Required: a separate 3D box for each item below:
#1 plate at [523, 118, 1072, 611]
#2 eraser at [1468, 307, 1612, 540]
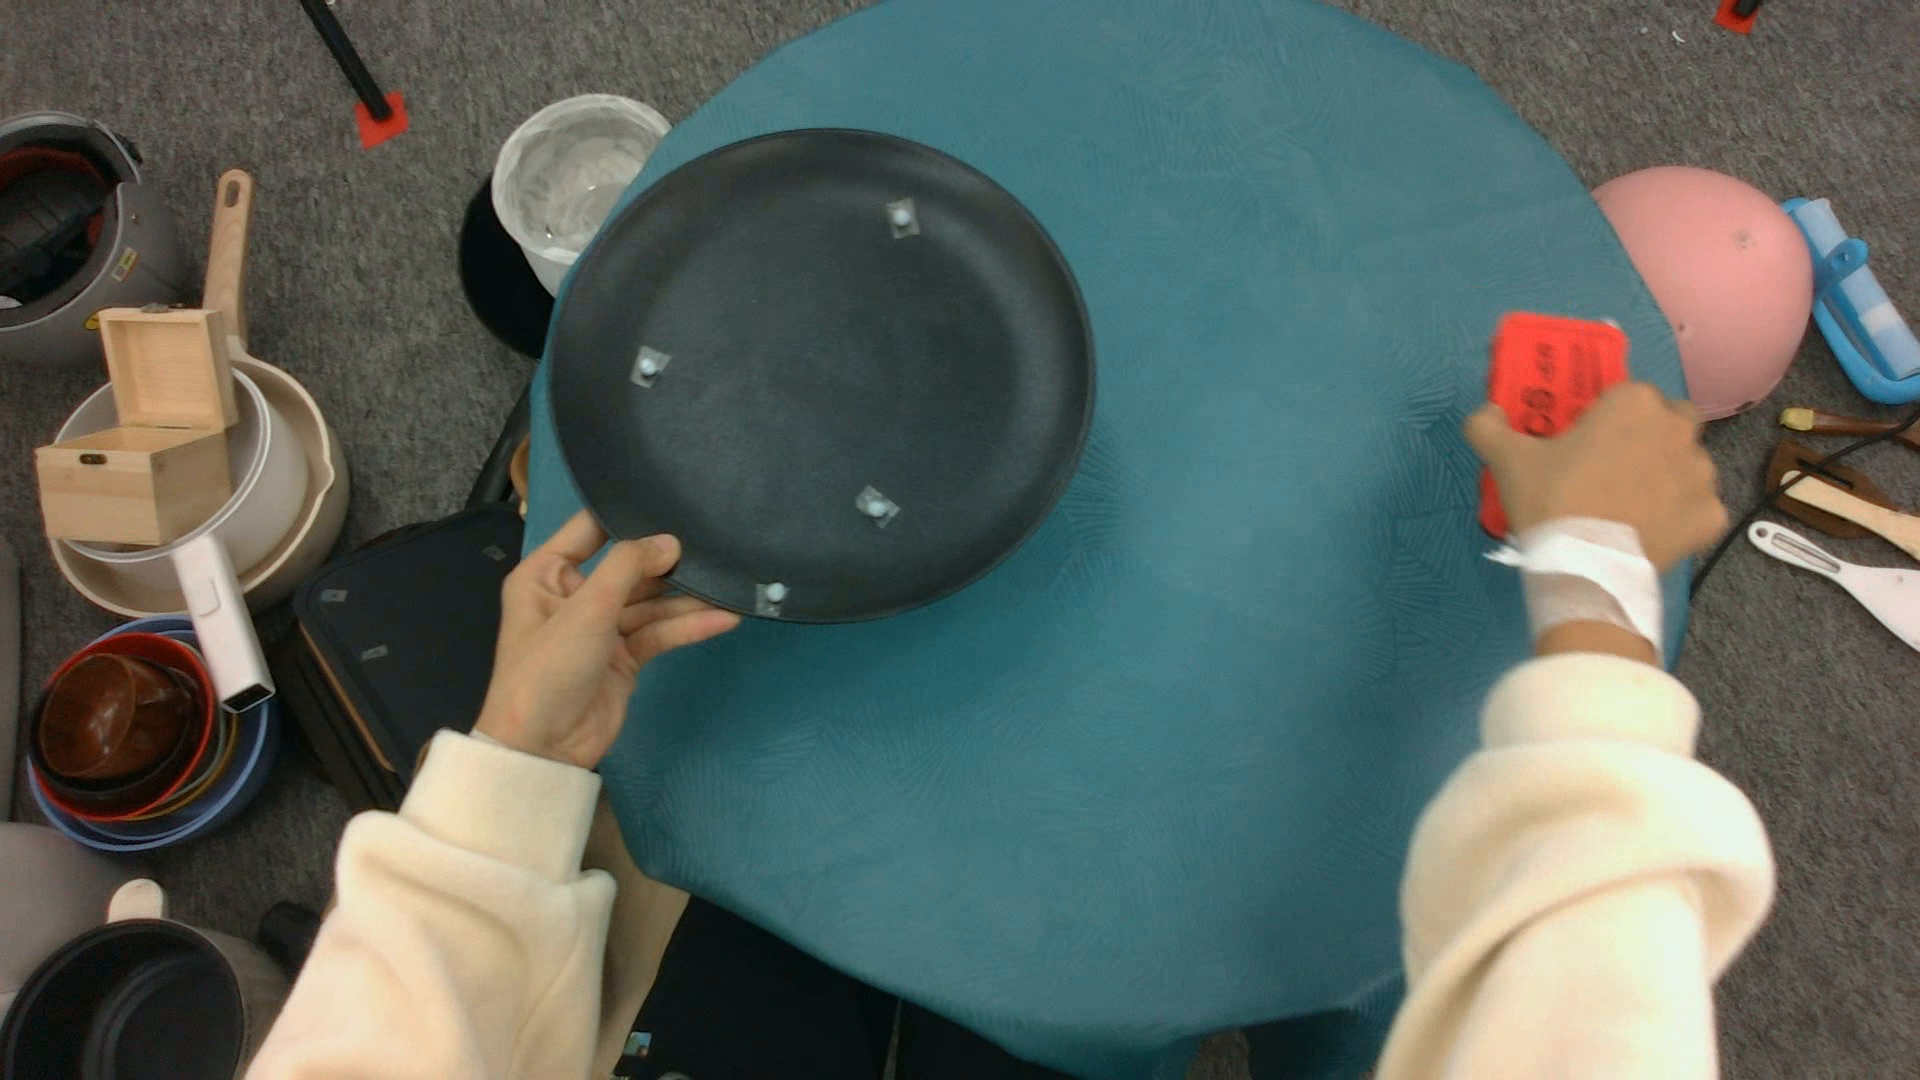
[{"bbox_3d":[-0.071,-0.083,0.624,0.244,0.023,0.245,1,71,-4],"label":"plate"},{"bbox_3d":[0.272,-0.056,0.646,0.059,0.023,0.108,10,69,7],"label":"eraser"}]
